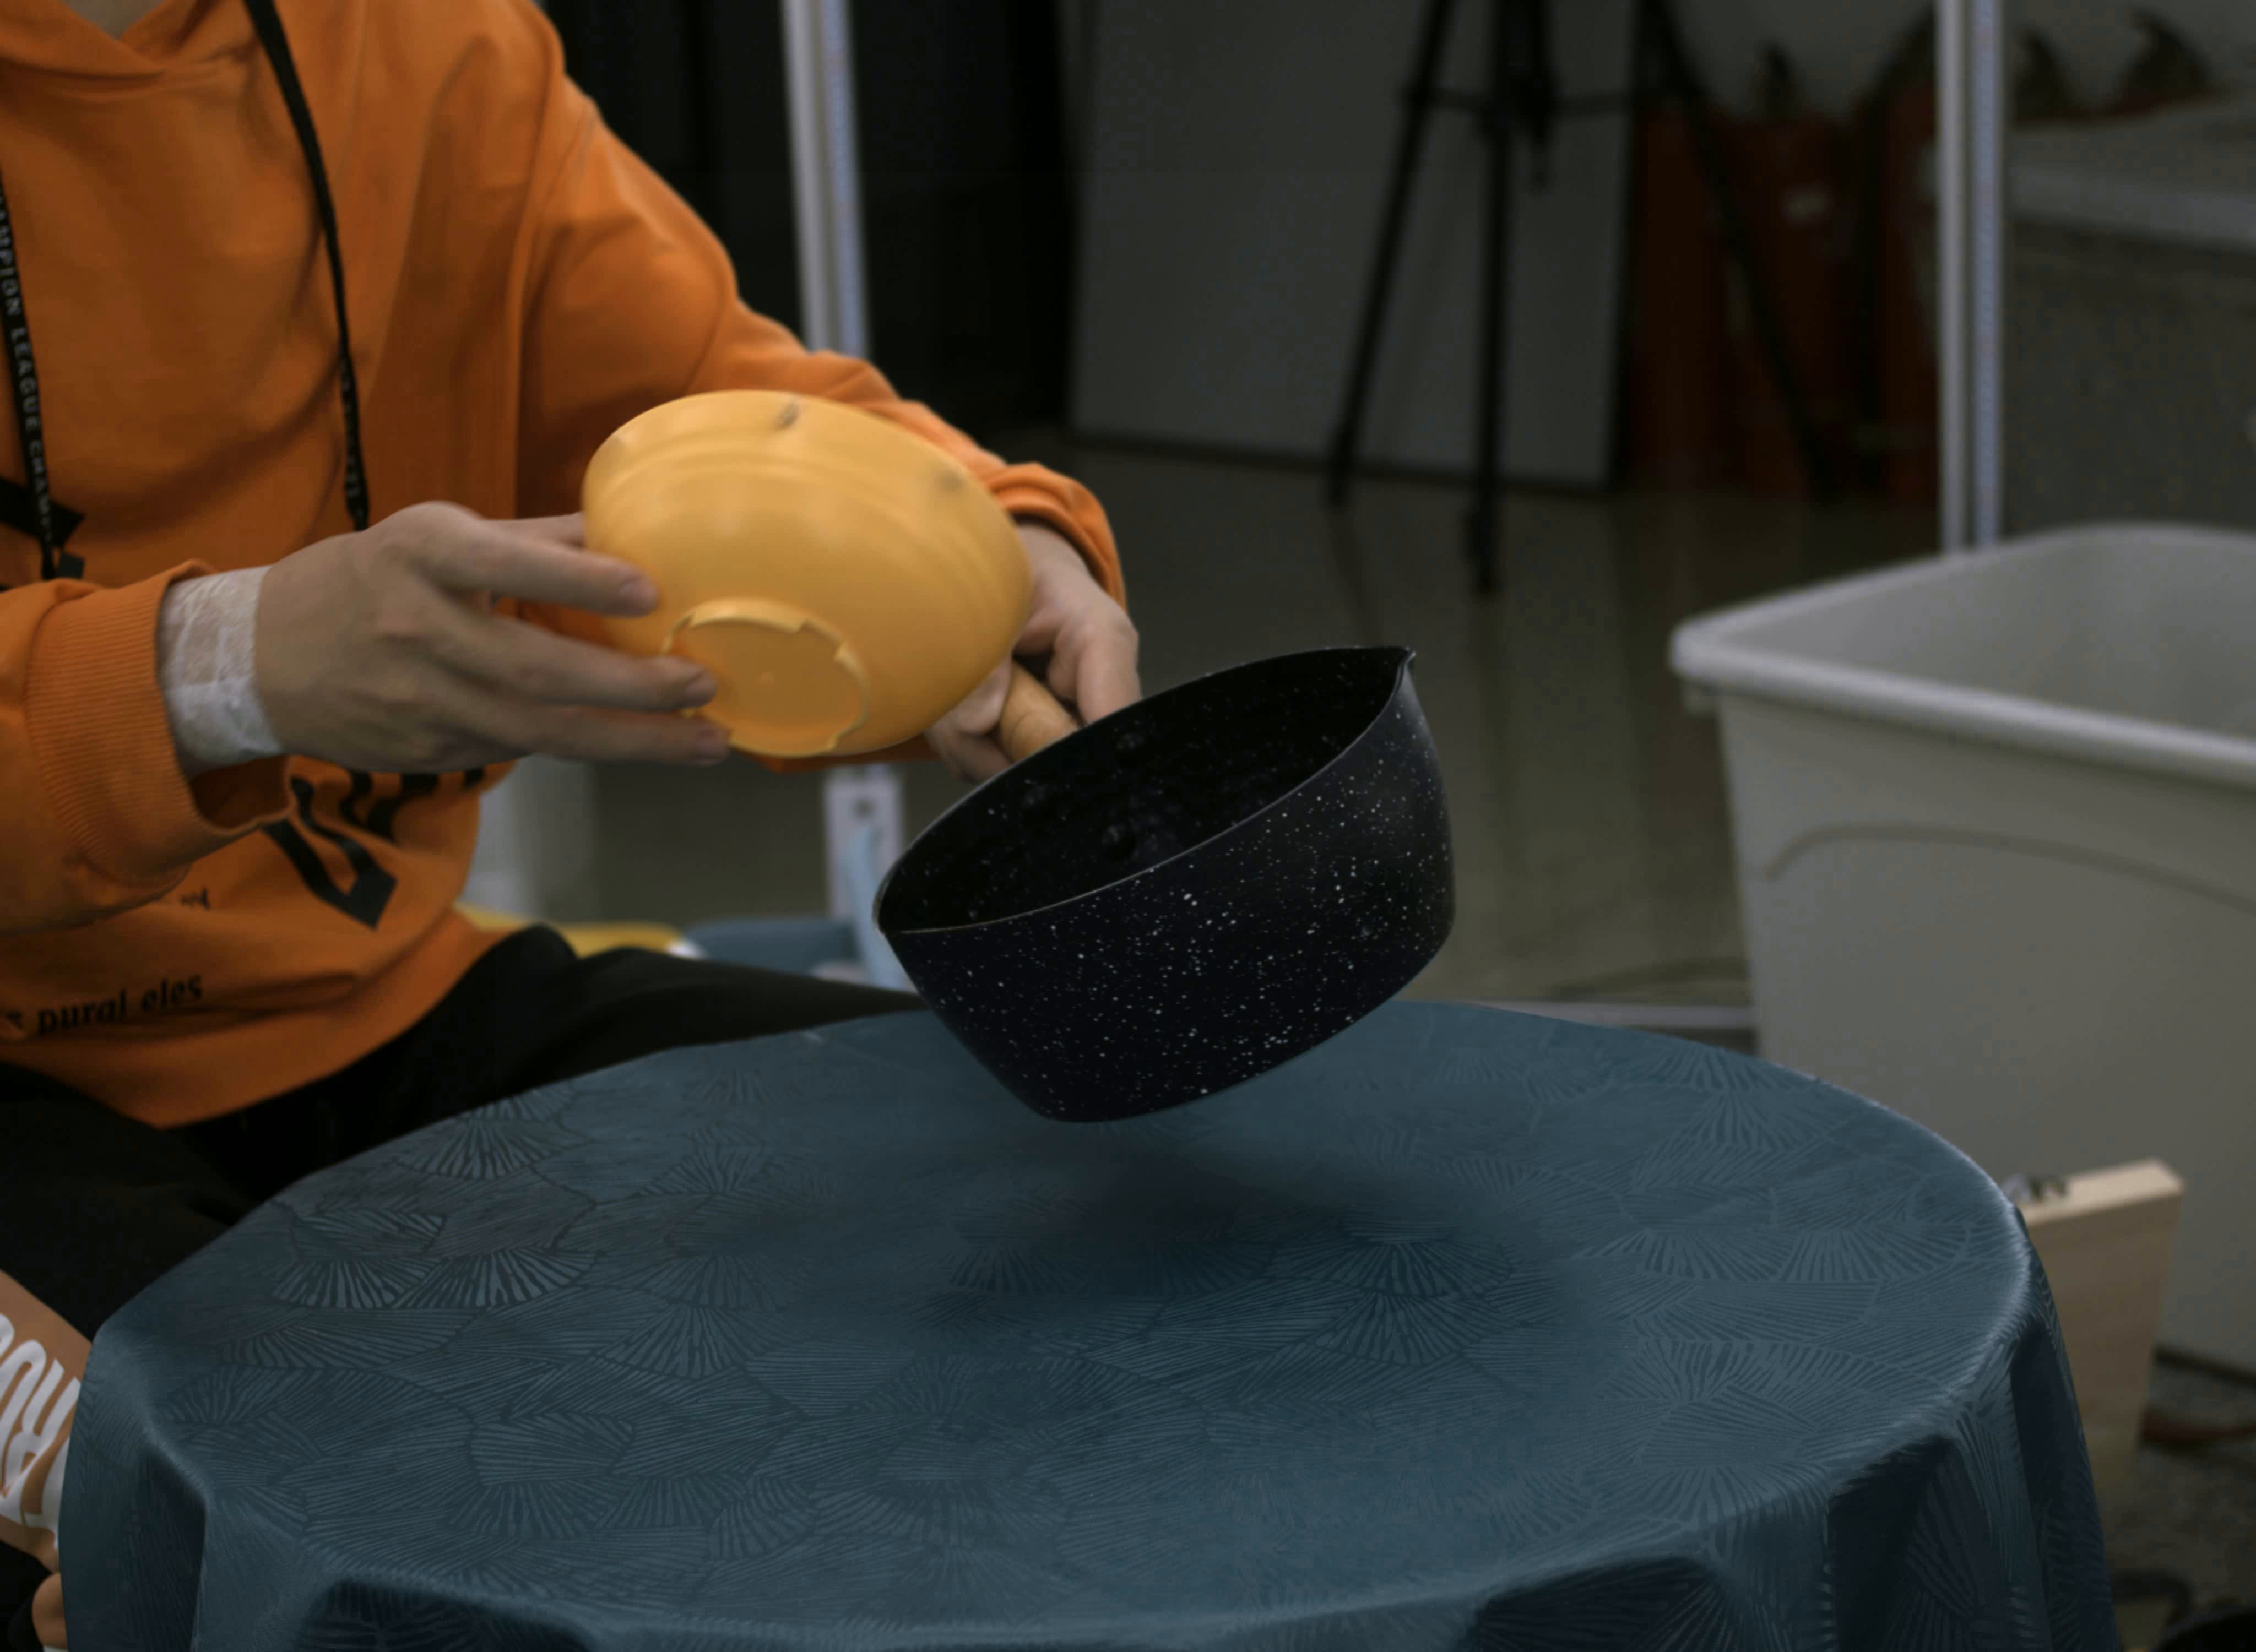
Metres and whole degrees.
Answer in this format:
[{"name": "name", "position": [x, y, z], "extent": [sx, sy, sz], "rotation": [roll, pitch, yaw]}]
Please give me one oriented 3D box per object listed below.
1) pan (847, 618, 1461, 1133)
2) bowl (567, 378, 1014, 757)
[{"name": "pan", "position": [-0.006, -0.001, 1.791], "extent": [0.205, 0.108, 0.345], "rotation": [-30, 17, -9]}, {"name": "bowl", "position": [-0.110, -0.065, 1.657], "extent": [0.145, 0.145, 0.060], "rotation": [1, 49, 19]}]
